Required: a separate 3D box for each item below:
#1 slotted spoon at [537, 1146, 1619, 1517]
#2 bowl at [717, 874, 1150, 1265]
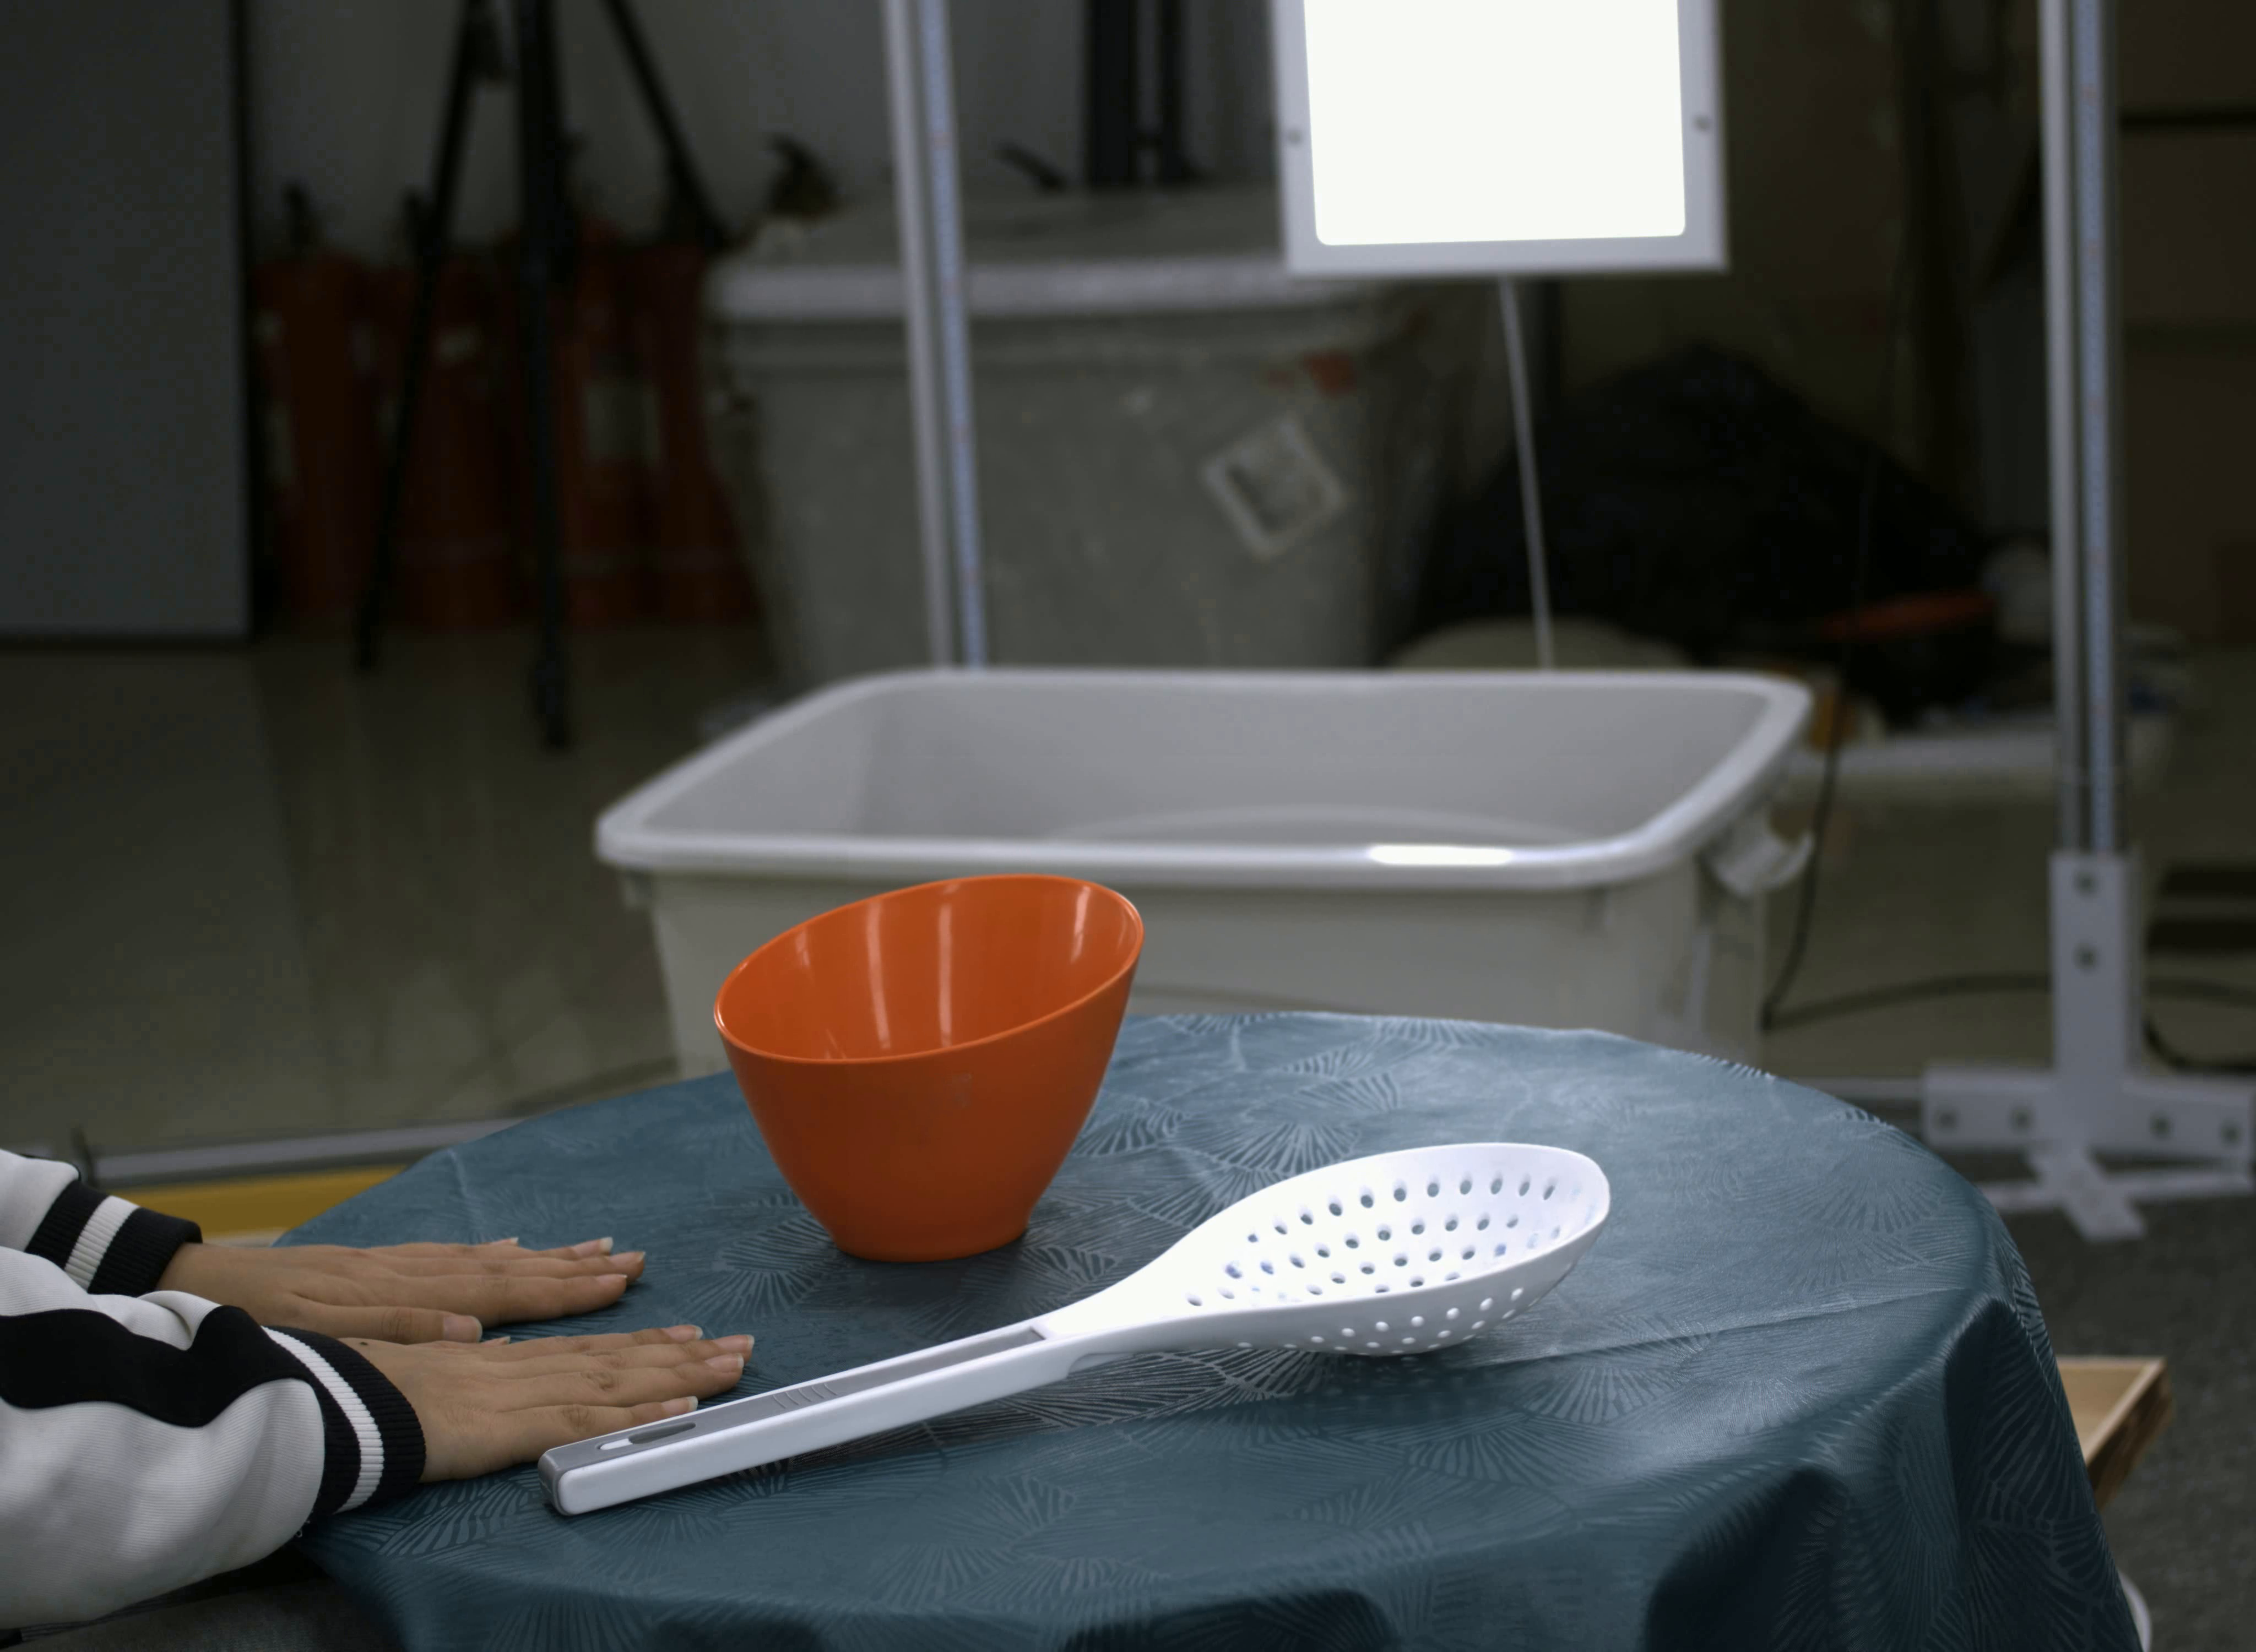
[{"bbox_3d":[-0.012,0.156,1.688,0.344,0.046,0.137,-10,13,-16],"label":"slotted spoon"},{"bbox_3d":[-0.064,0.086,1.869,0.147,0.105,0.148,-3,16,0],"label":"bowl"}]
